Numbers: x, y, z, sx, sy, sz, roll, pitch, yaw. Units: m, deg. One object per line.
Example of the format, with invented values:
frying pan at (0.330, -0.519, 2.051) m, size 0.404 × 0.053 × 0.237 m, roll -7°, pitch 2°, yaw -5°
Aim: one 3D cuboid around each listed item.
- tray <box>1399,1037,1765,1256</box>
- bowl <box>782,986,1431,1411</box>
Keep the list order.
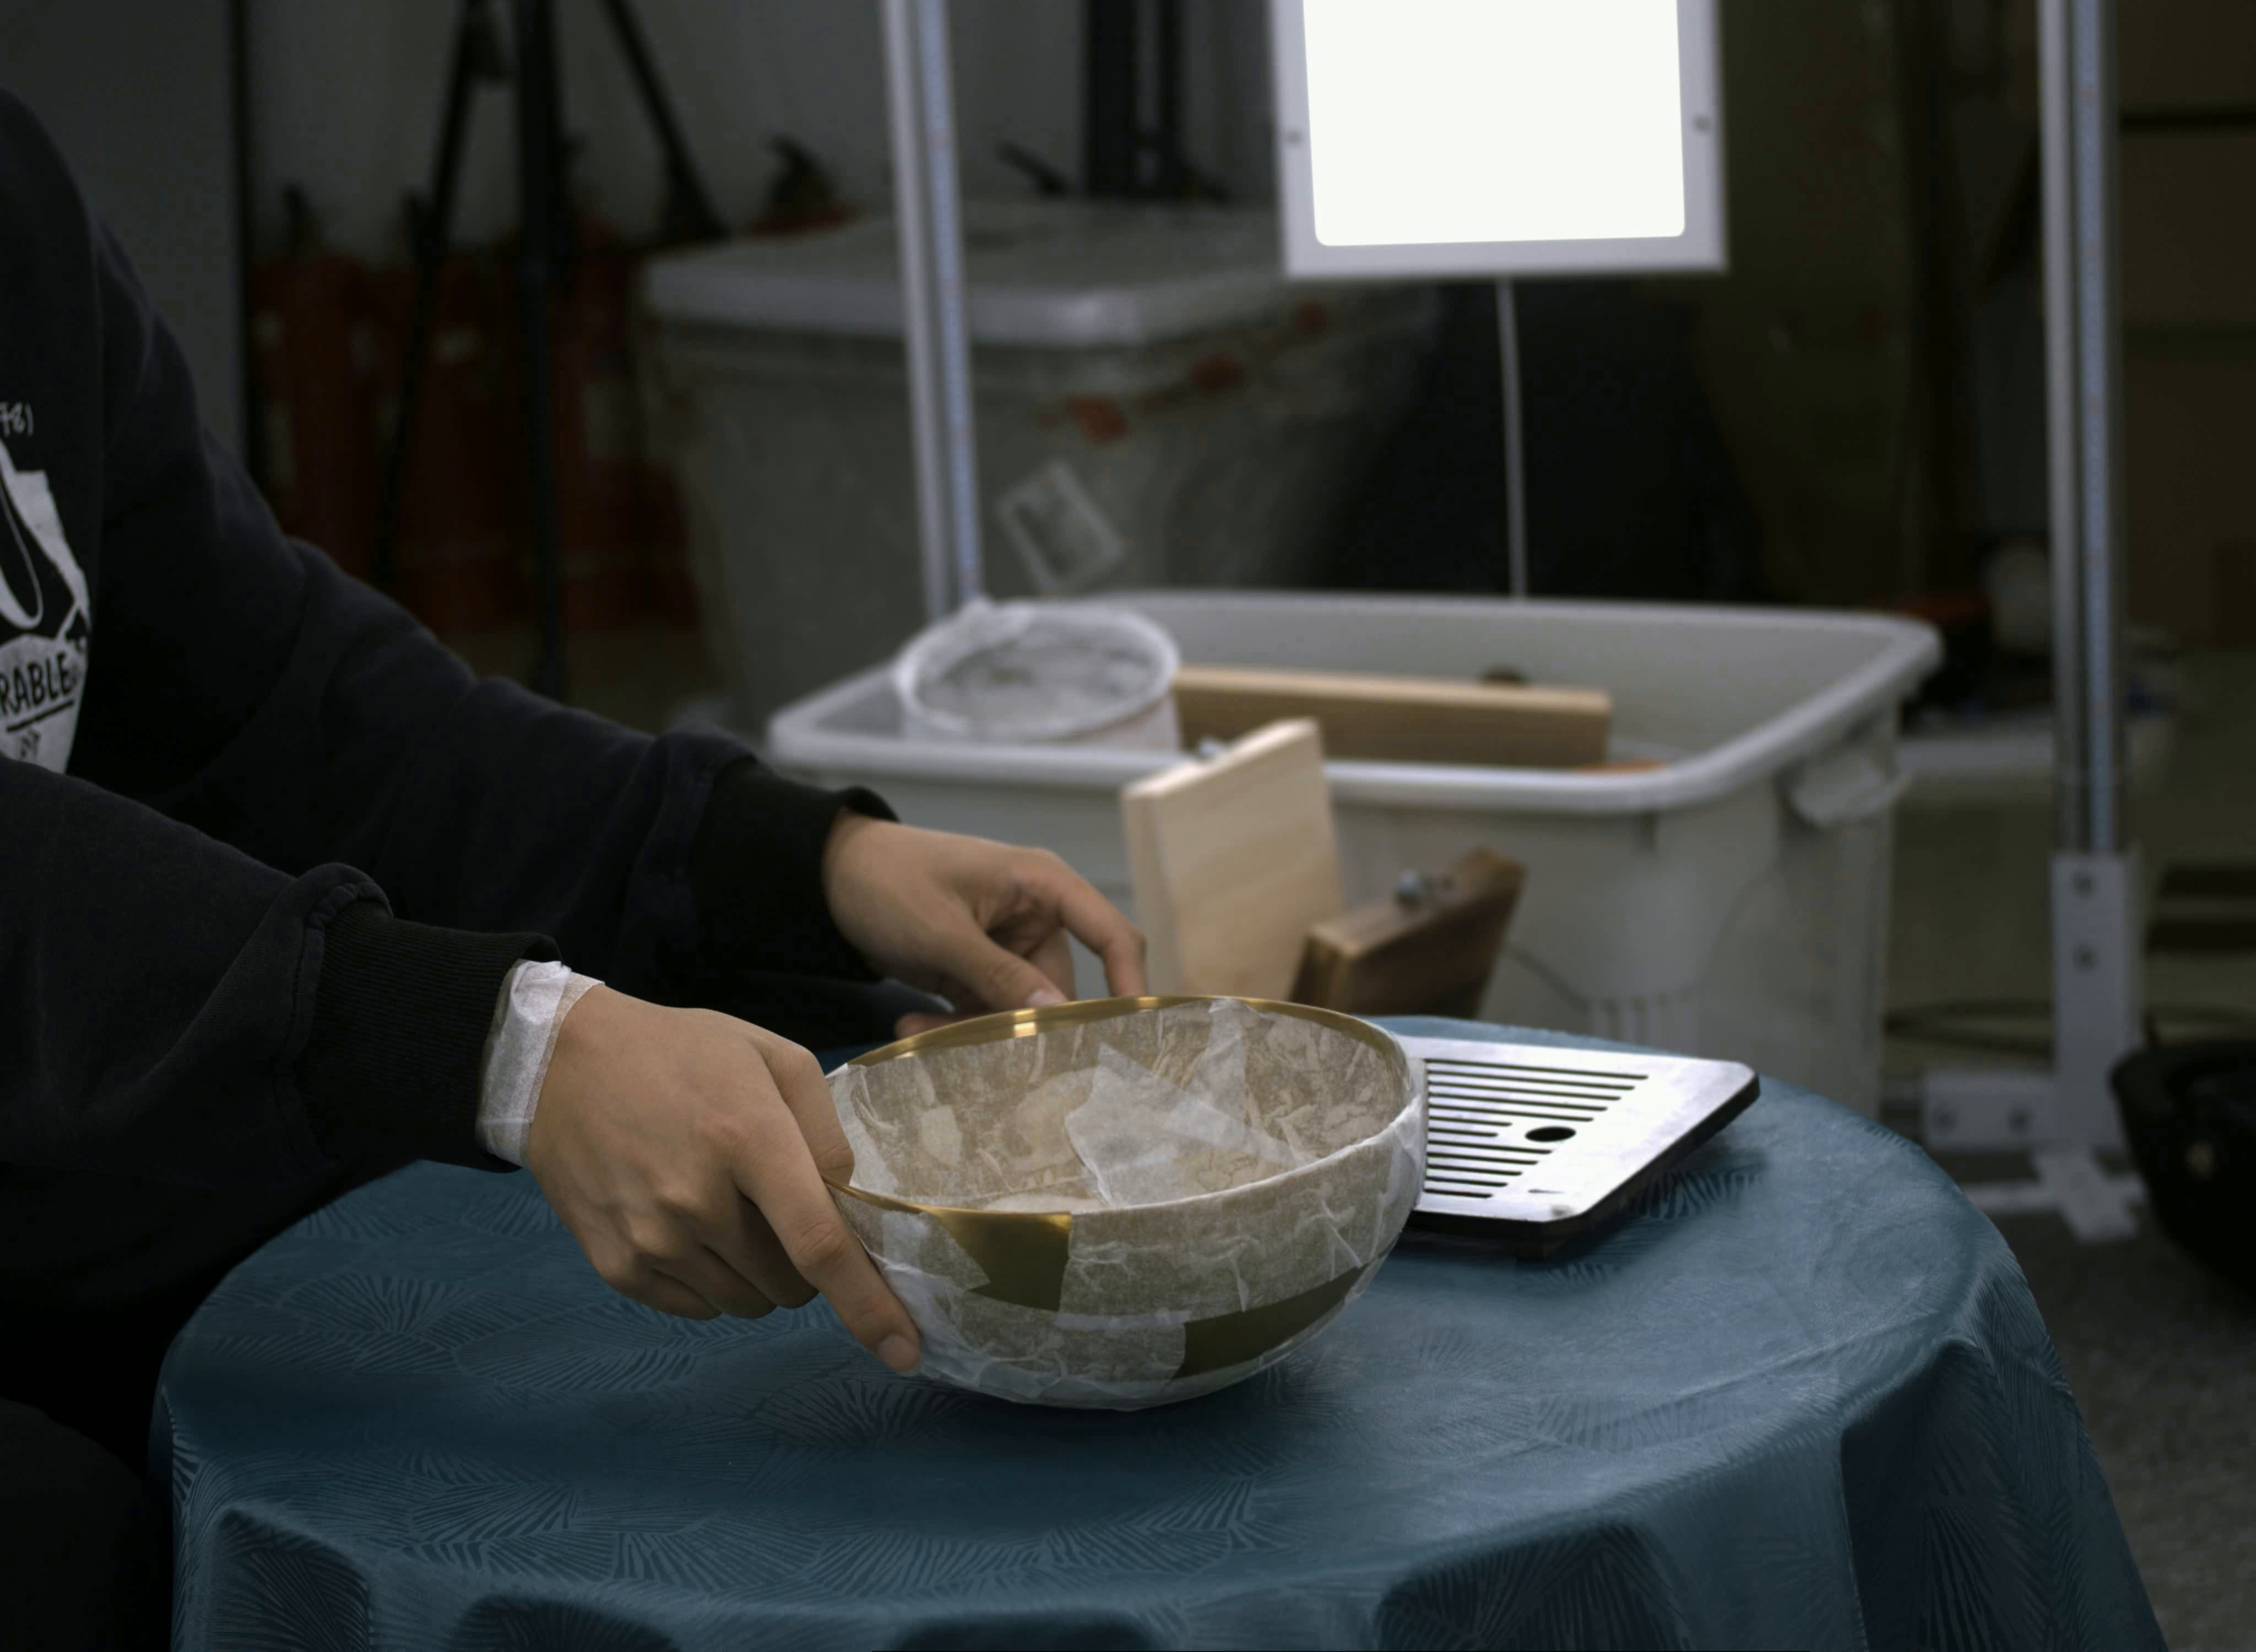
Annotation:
tray at (0.054, 0.105, 1.922) m, size 0.312 × 0.019 × 0.166 m, roll 3°, pitch 17°, yaw 31°
bowl at (-0.005, 0.124, 1.711) m, size 0.214 × 0.095 × 0.214 m, roll -6°, pitch 17°, yaw 1°
